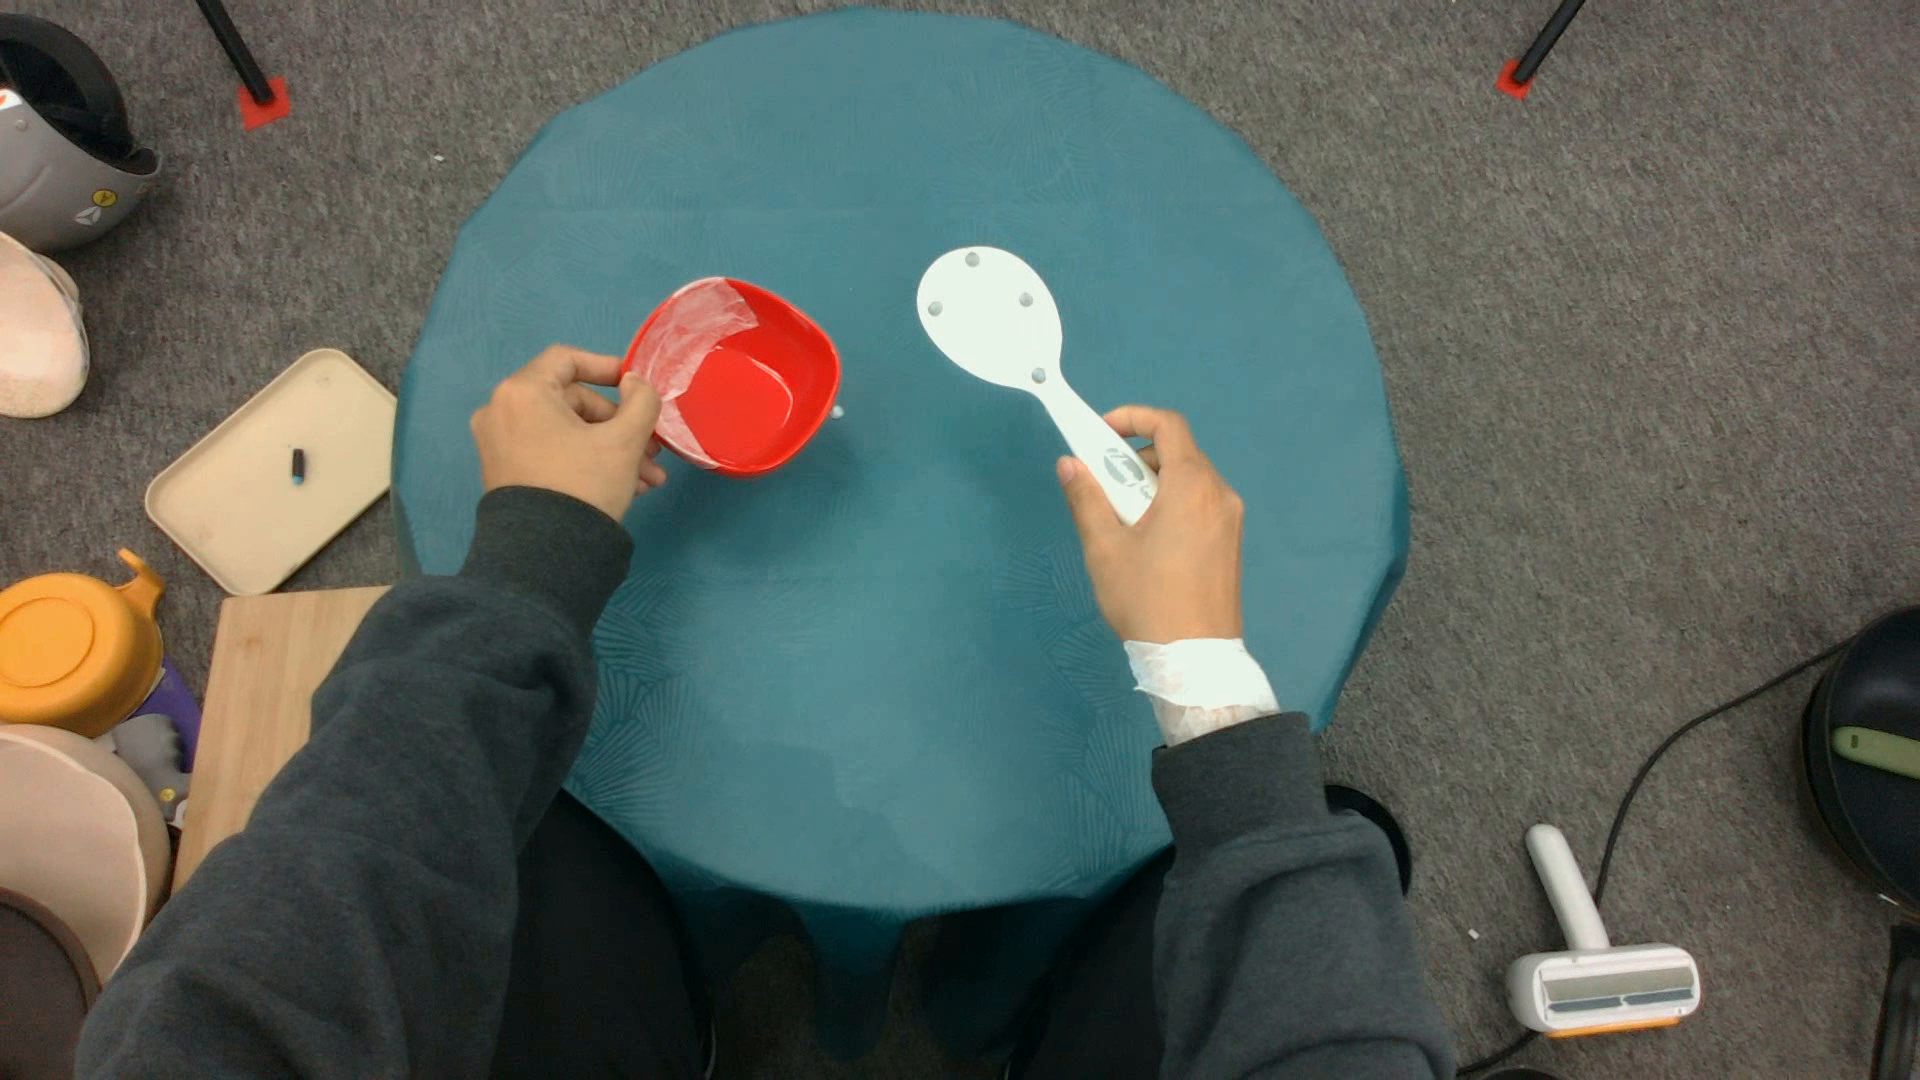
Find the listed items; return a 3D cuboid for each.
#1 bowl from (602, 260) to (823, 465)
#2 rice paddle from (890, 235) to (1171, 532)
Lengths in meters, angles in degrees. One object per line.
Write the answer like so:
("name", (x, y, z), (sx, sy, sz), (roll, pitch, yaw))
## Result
("bowl", (-0.137, -0.090, 0.761), (0.119, 0.051, 0.119), (5, 69, -14))
("rice paddle", (0.034, -0.090, 0.722), (0.069, 0.029, 0.205), (-34, 69, -12))
